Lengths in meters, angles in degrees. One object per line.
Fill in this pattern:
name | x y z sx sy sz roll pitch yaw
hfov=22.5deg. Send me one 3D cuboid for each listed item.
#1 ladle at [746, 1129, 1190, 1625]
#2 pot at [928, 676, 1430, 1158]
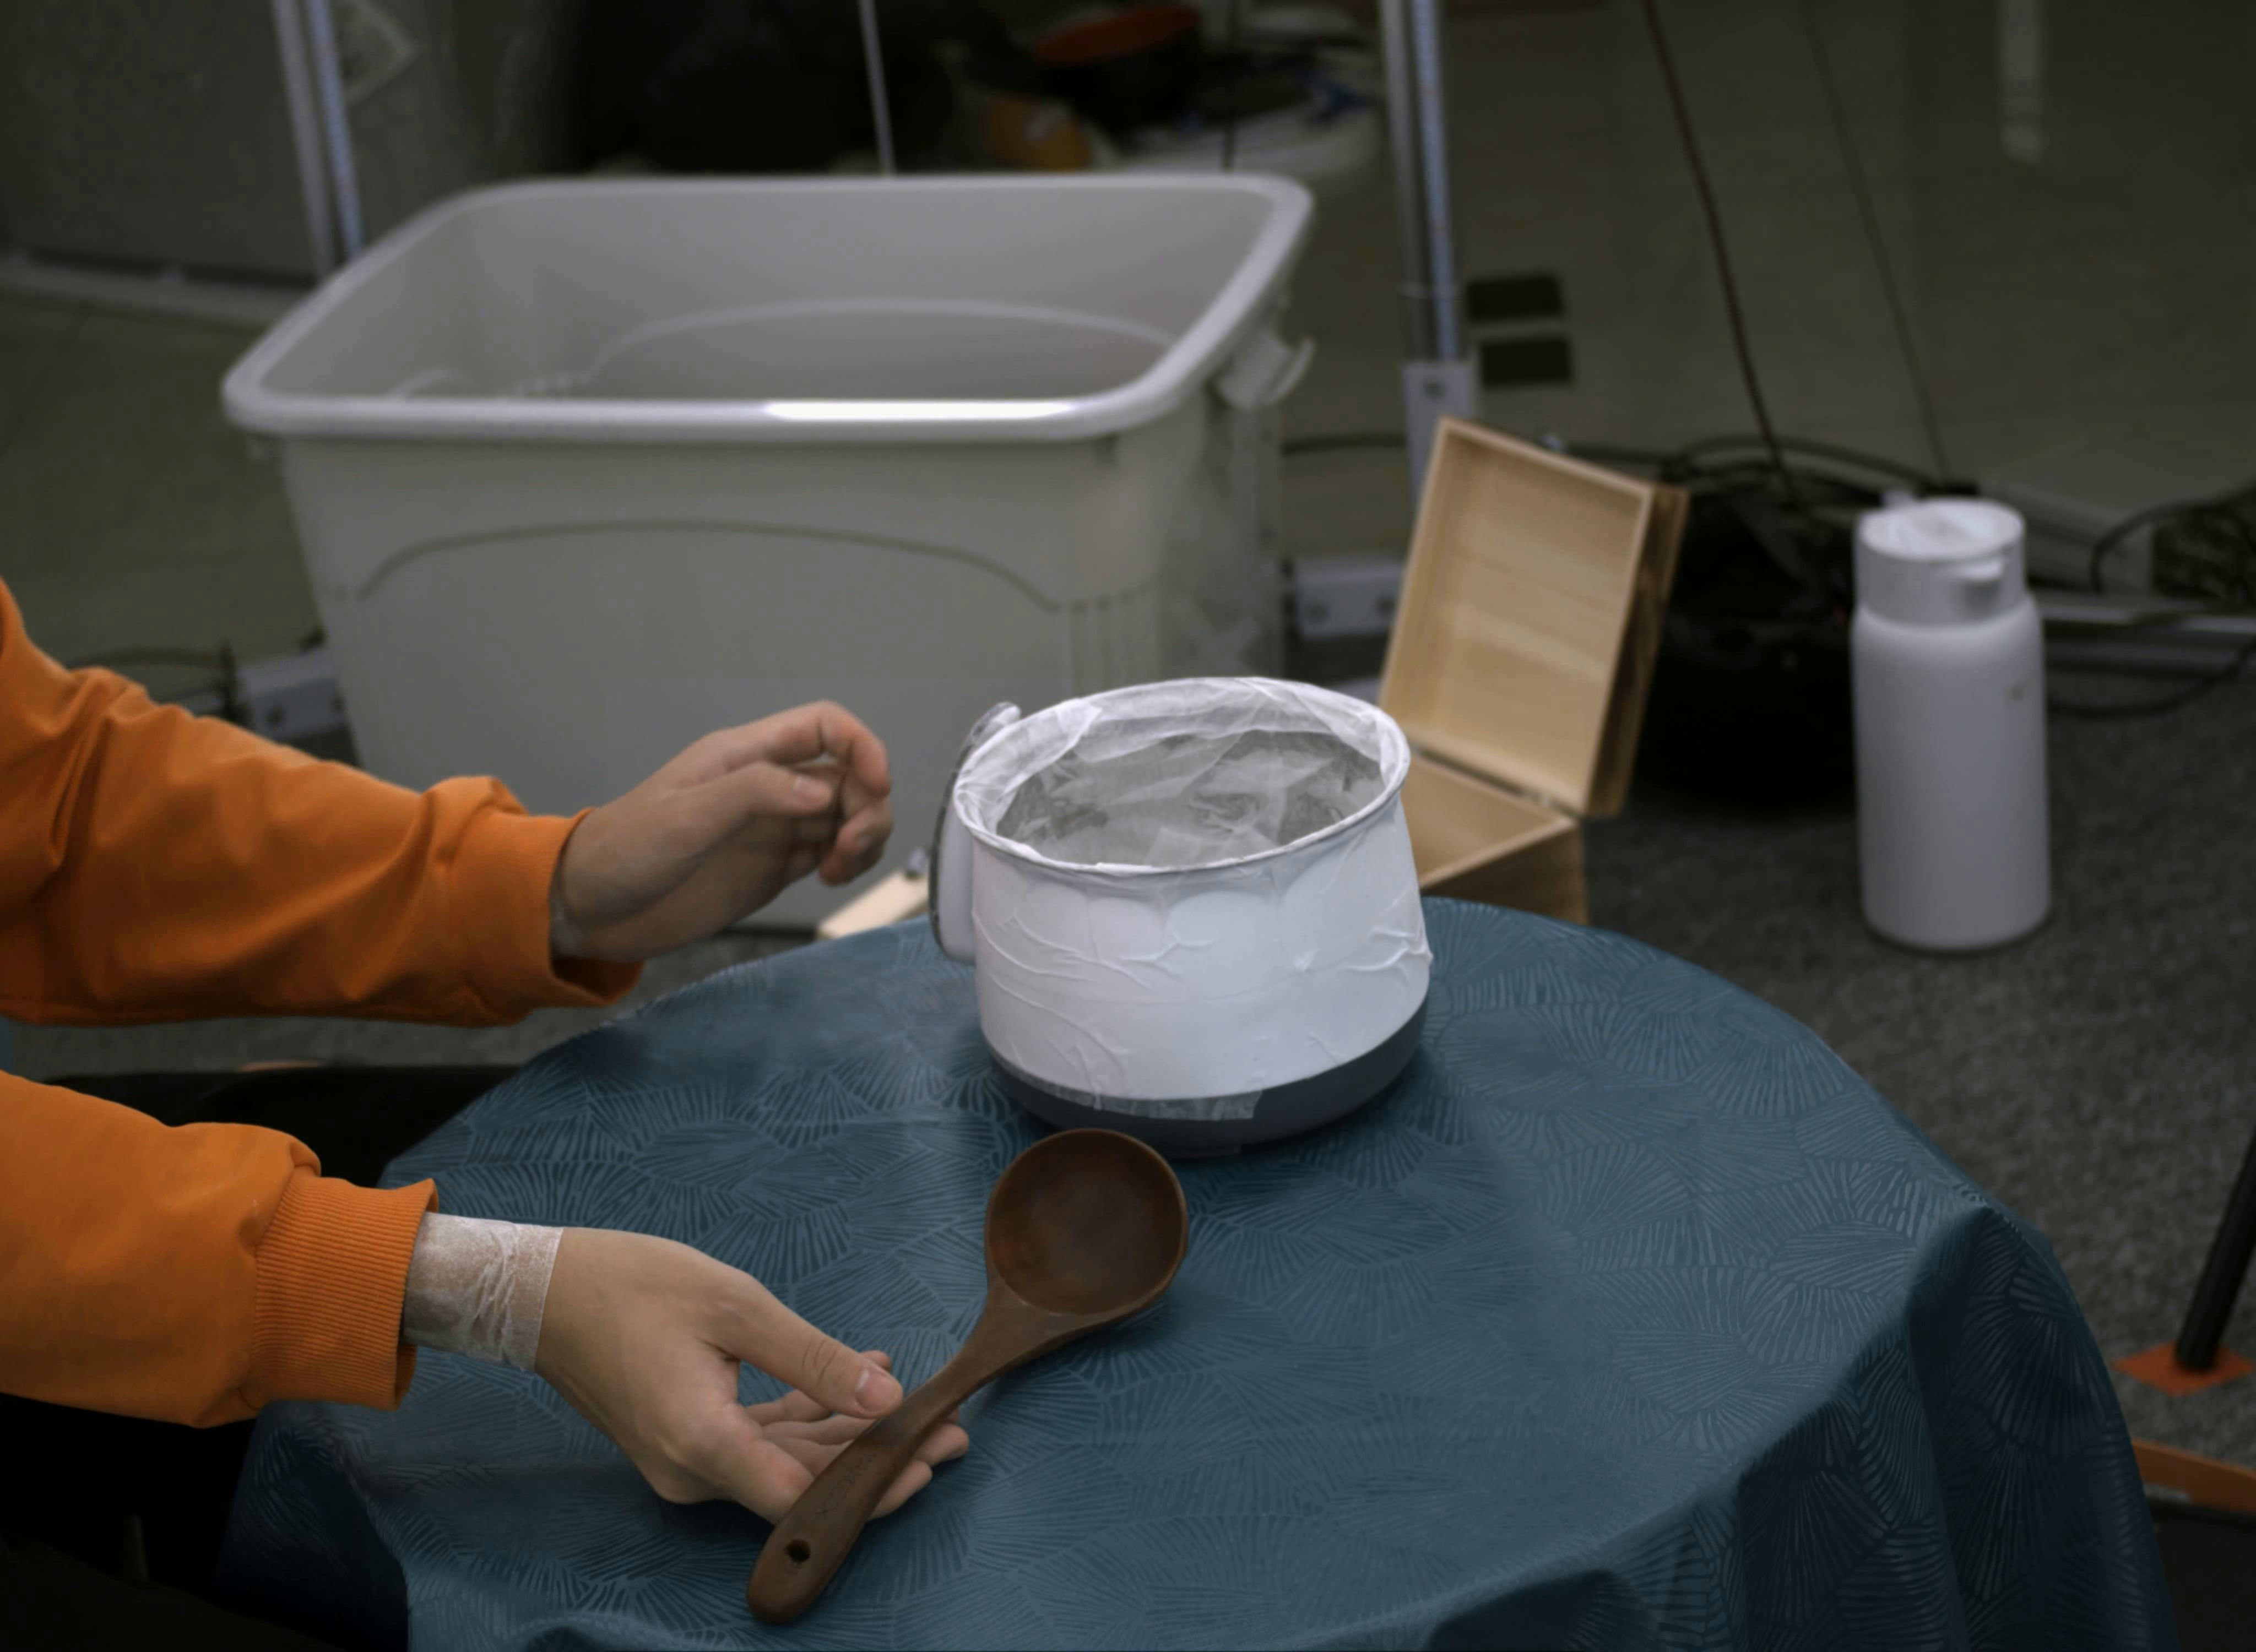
ladle | -0.060 0.188 1.982 0.076 0.066 0.257 21 33 20
pot | 0.007 0.030 2.214 0.232 0.139 0.177 18 34 40
